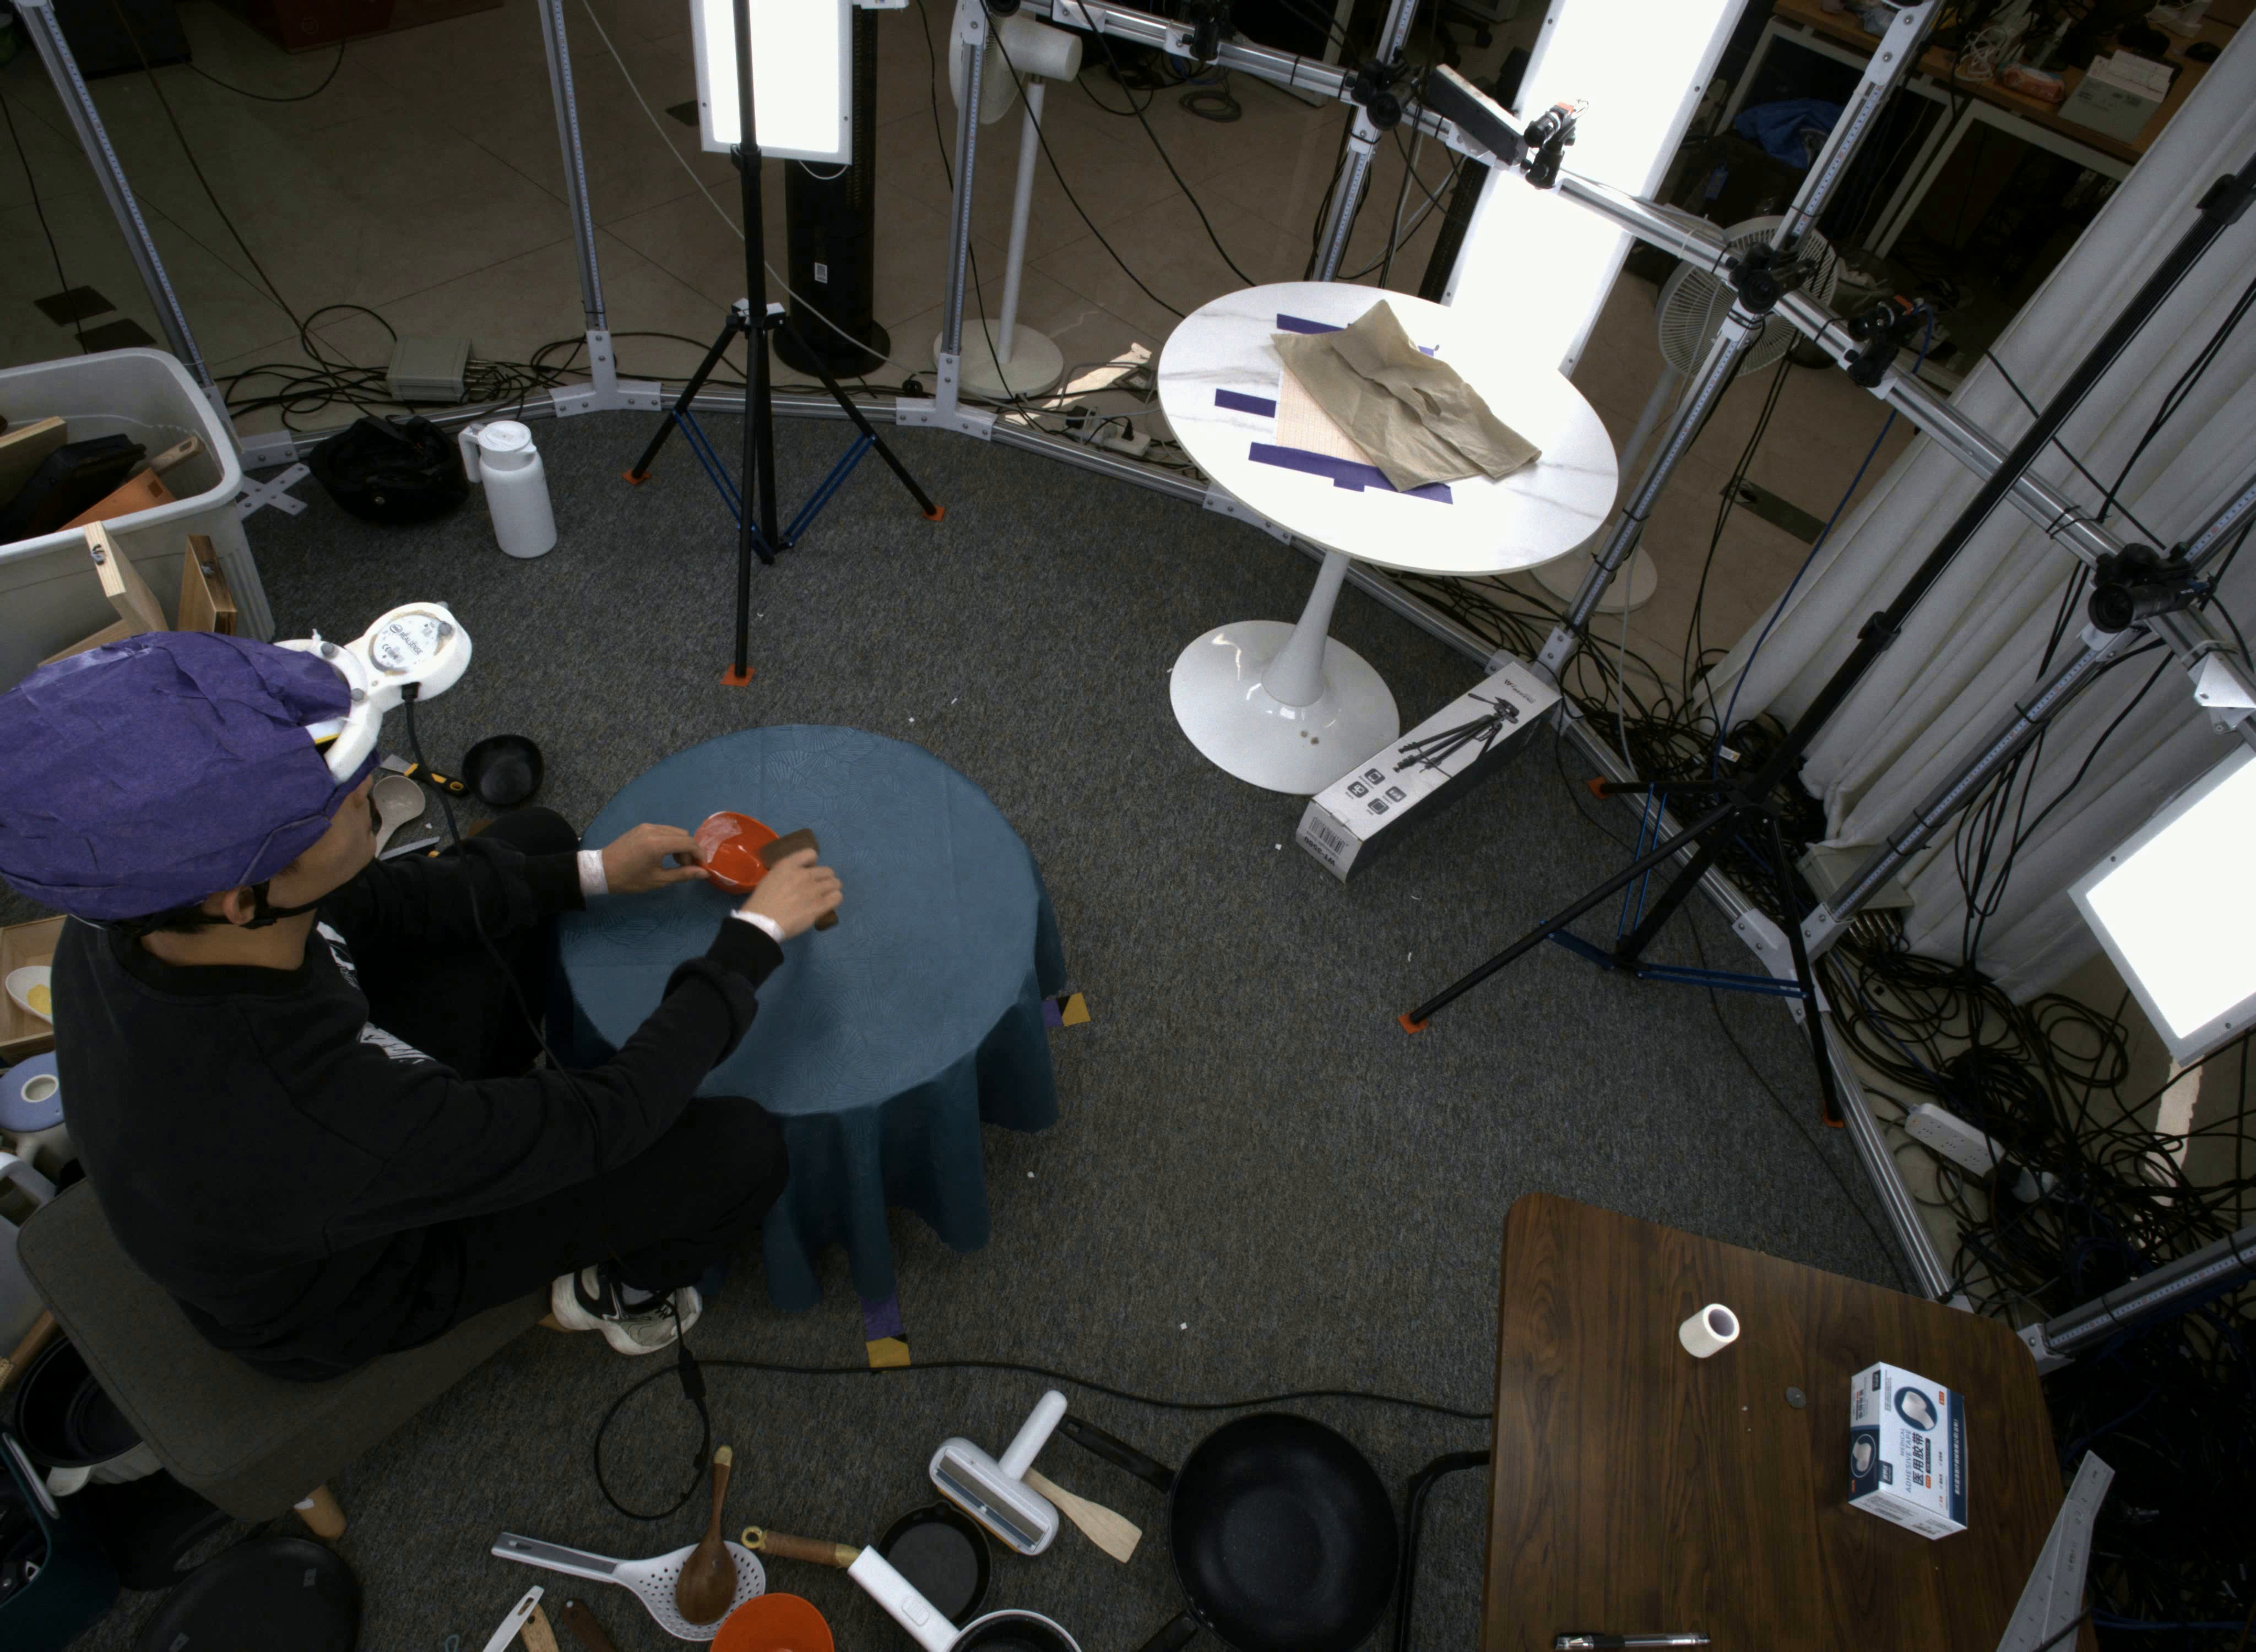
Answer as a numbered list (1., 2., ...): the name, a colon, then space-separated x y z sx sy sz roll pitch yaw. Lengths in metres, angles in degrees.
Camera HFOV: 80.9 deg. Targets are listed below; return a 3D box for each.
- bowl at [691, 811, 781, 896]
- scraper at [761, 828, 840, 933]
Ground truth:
1. bowl: -0.498 0.042 1.635 0.120 0.051 0.116 21 43 -20
2. scraper: -0.383 0.066 1.553 0.076 0.011 0.203 -24 39 -15
